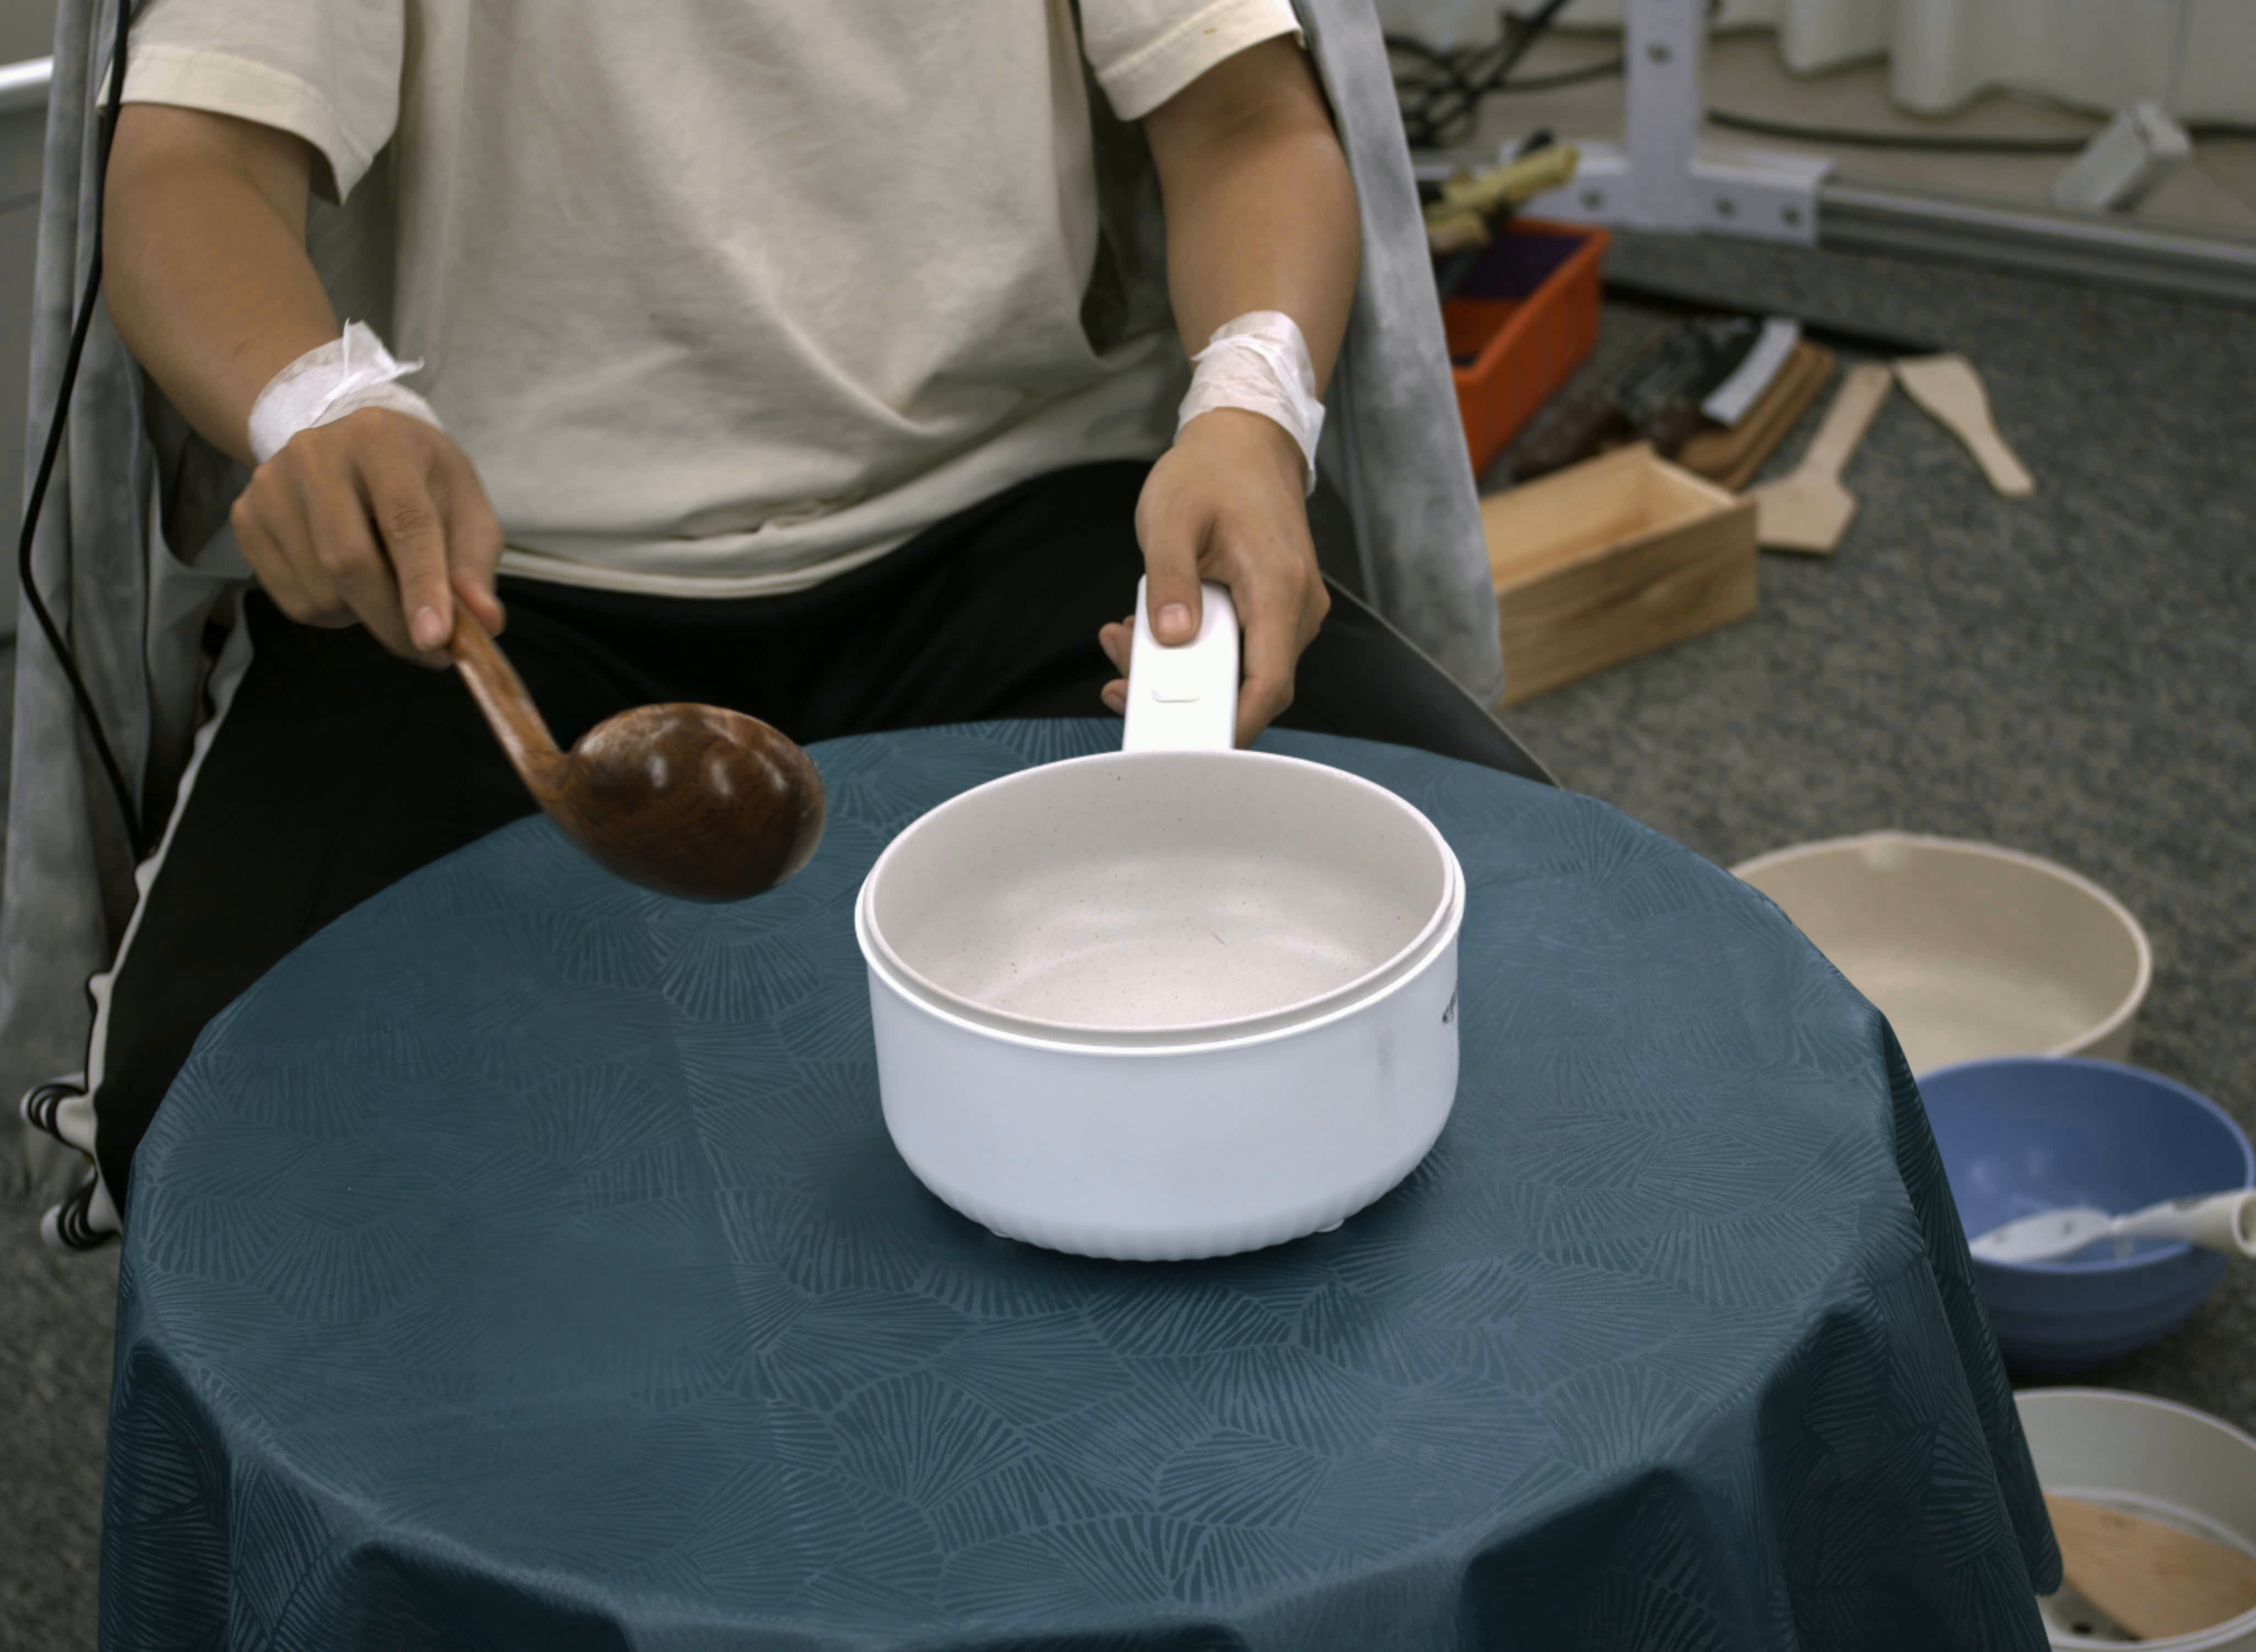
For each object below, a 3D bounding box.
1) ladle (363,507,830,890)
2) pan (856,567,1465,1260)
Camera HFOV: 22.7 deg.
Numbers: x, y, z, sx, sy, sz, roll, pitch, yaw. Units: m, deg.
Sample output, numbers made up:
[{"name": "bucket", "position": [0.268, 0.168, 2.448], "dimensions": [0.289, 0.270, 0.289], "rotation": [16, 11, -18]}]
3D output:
[{"name": "ladle", "position": [-0.175, -0.060, 1.808], "dimensions": [0.076, 0.081, 0.276], "rotation": [-38, 37, -2]}, {"name": "pan", "position": [0.018, 0.027, 1.934], "dimensions": [0.200, 0.101, 0.360], "rotation": [-1, 26, 4]}]
